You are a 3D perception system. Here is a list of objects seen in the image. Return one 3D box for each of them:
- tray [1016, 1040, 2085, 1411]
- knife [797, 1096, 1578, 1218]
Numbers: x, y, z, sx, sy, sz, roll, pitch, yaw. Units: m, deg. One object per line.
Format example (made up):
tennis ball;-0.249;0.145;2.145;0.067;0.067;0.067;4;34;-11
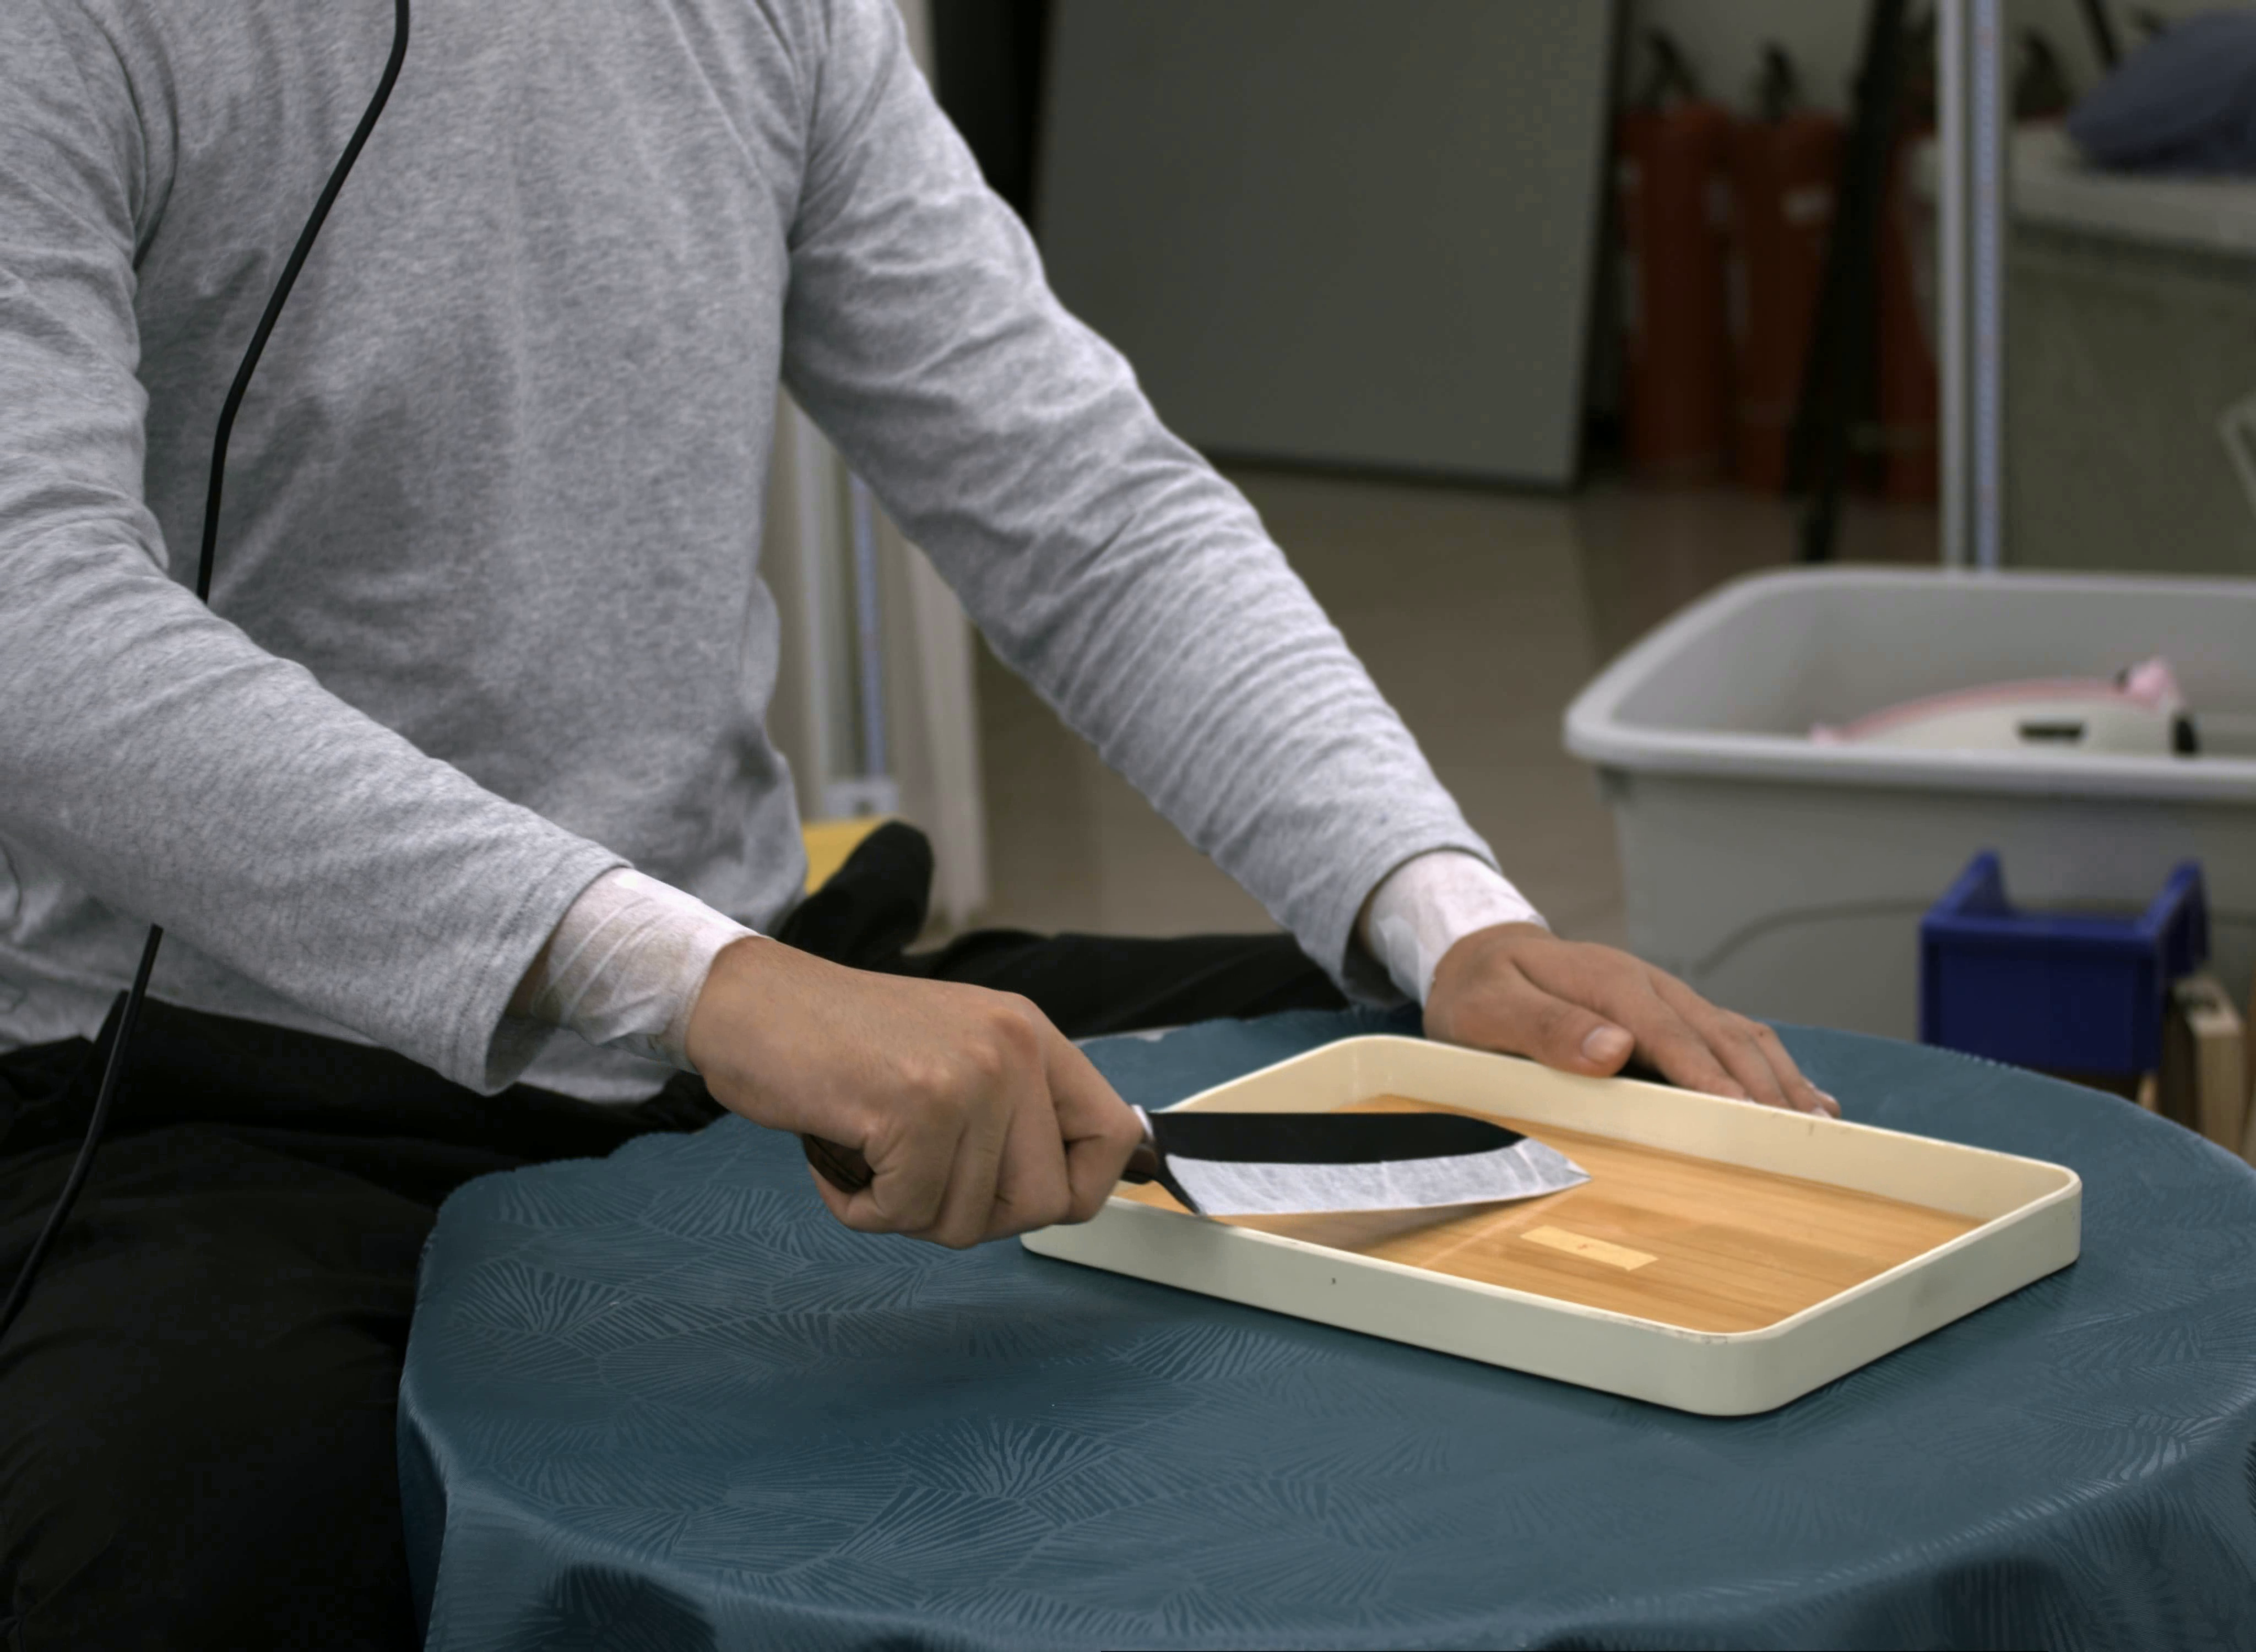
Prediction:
tray;0.129;0.121;1.683;0.303;0.028;0.188;9;19;43
knife;0.025;0.102;1.666;0.282;0.020;0.051;4;42;-32
